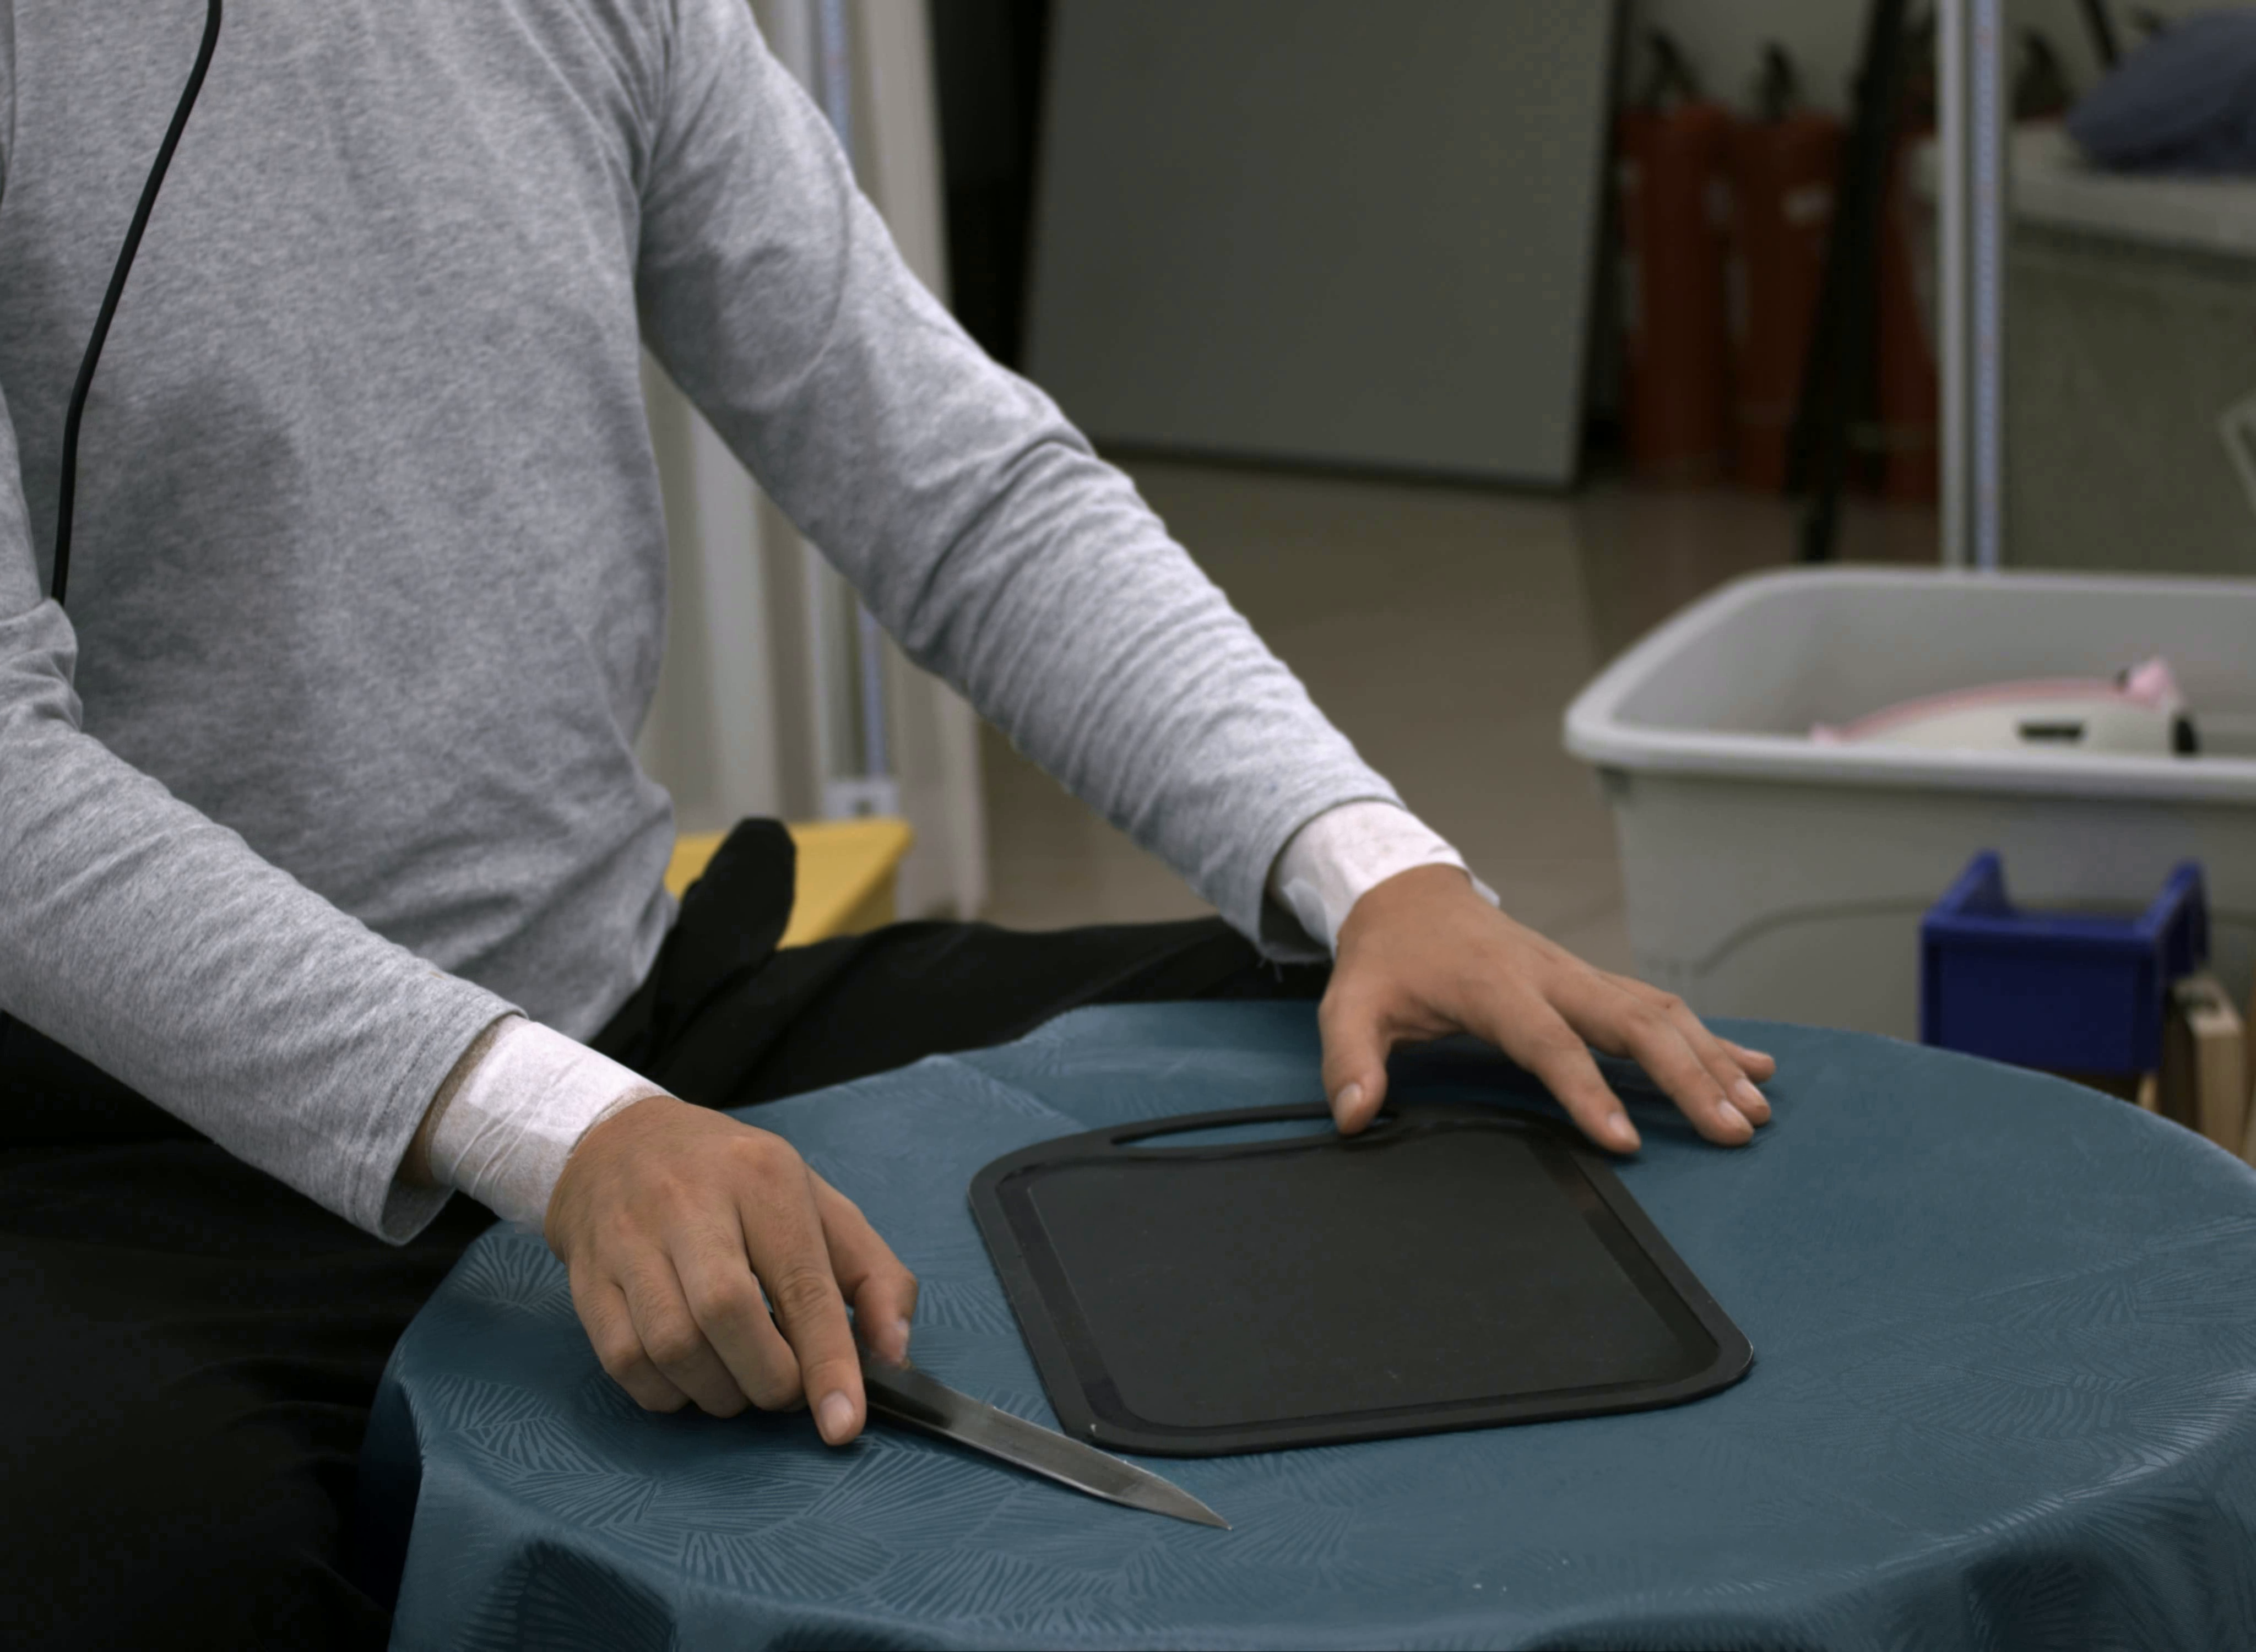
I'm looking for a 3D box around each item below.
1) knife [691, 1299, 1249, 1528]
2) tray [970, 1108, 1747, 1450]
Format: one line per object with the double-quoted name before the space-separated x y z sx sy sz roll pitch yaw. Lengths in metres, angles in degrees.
"knife" -0.050 0.172 1.558 0.024 0.016 0.240 -18 22 -39
"tray" 0.063 0.135 1.689 0.208 0.010 0.327 -6 13 -6
